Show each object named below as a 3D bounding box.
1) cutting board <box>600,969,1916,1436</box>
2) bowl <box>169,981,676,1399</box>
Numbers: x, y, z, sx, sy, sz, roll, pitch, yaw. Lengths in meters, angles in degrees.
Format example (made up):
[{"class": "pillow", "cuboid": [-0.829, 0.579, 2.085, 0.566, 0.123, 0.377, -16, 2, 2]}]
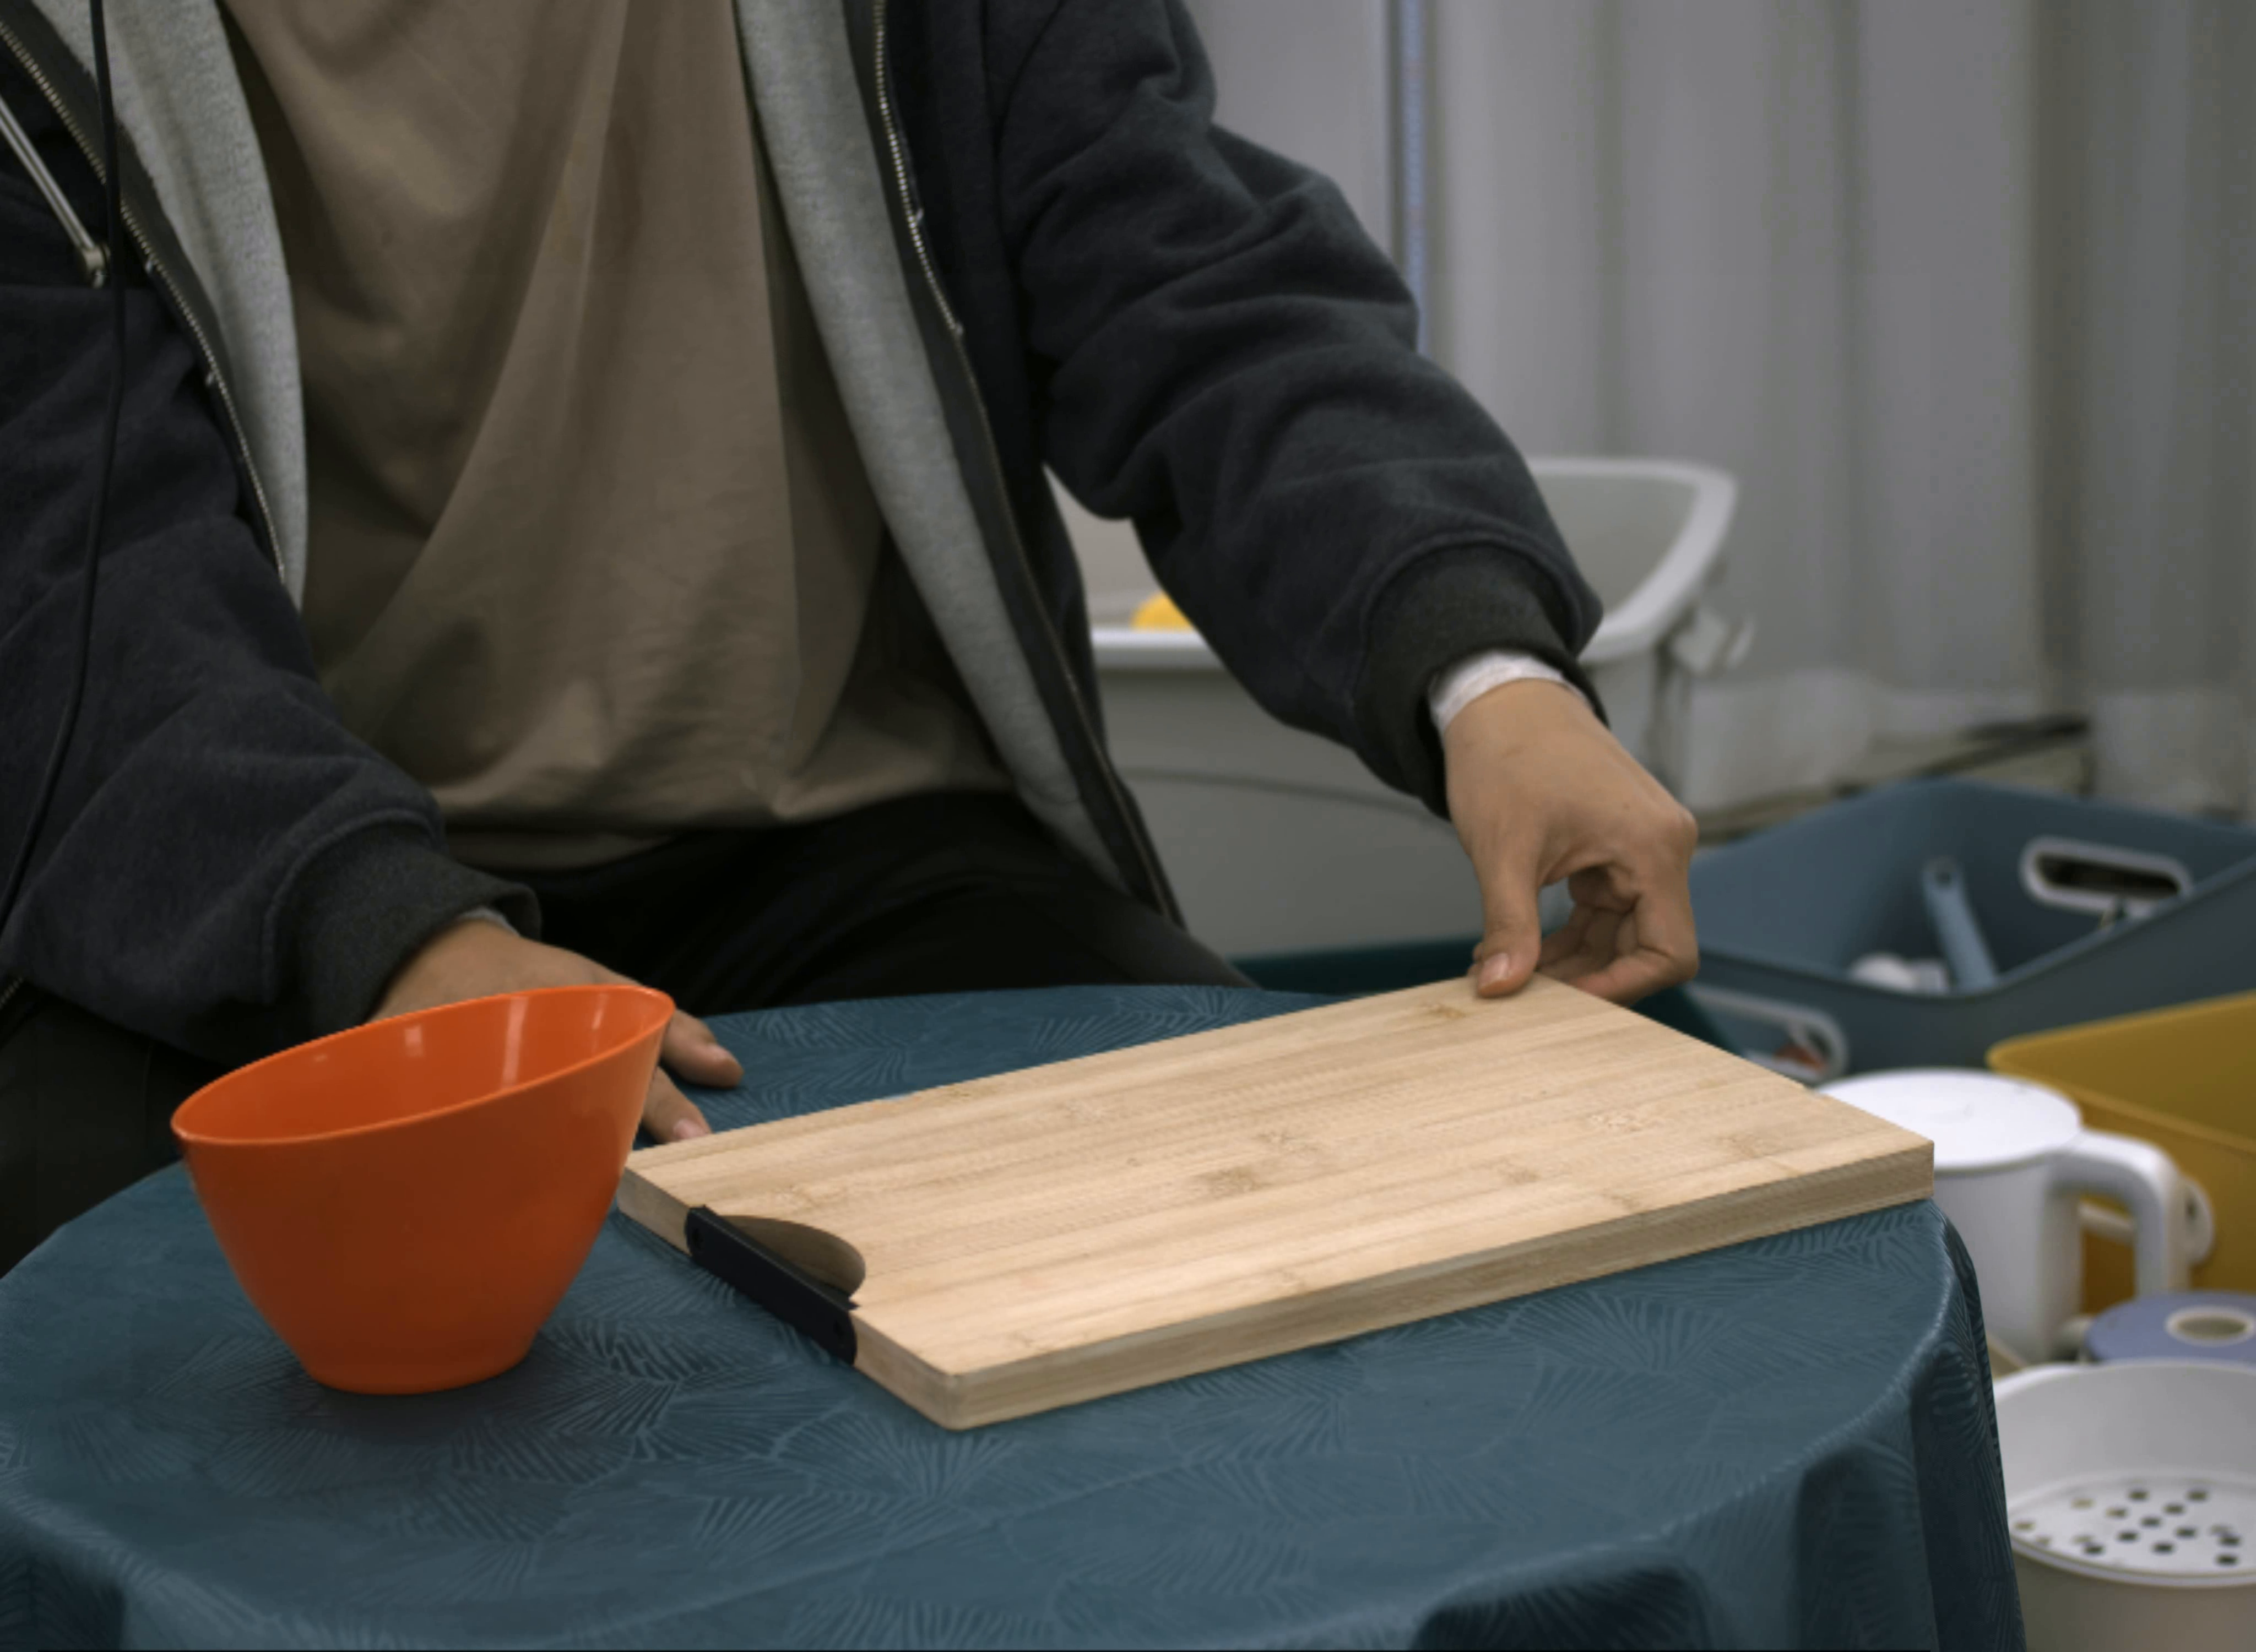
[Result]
[{"class": "cutting board", "cuboid": [0.037, 0.110, 1.694, 0.347, 0.023, 0.252, -11, 16, -27]}, {"class": "bowl", "cuboid": [-0.201, 0.107, 1.586, 0.147, 0.104, 0.149, -3, 16, 1]}]
